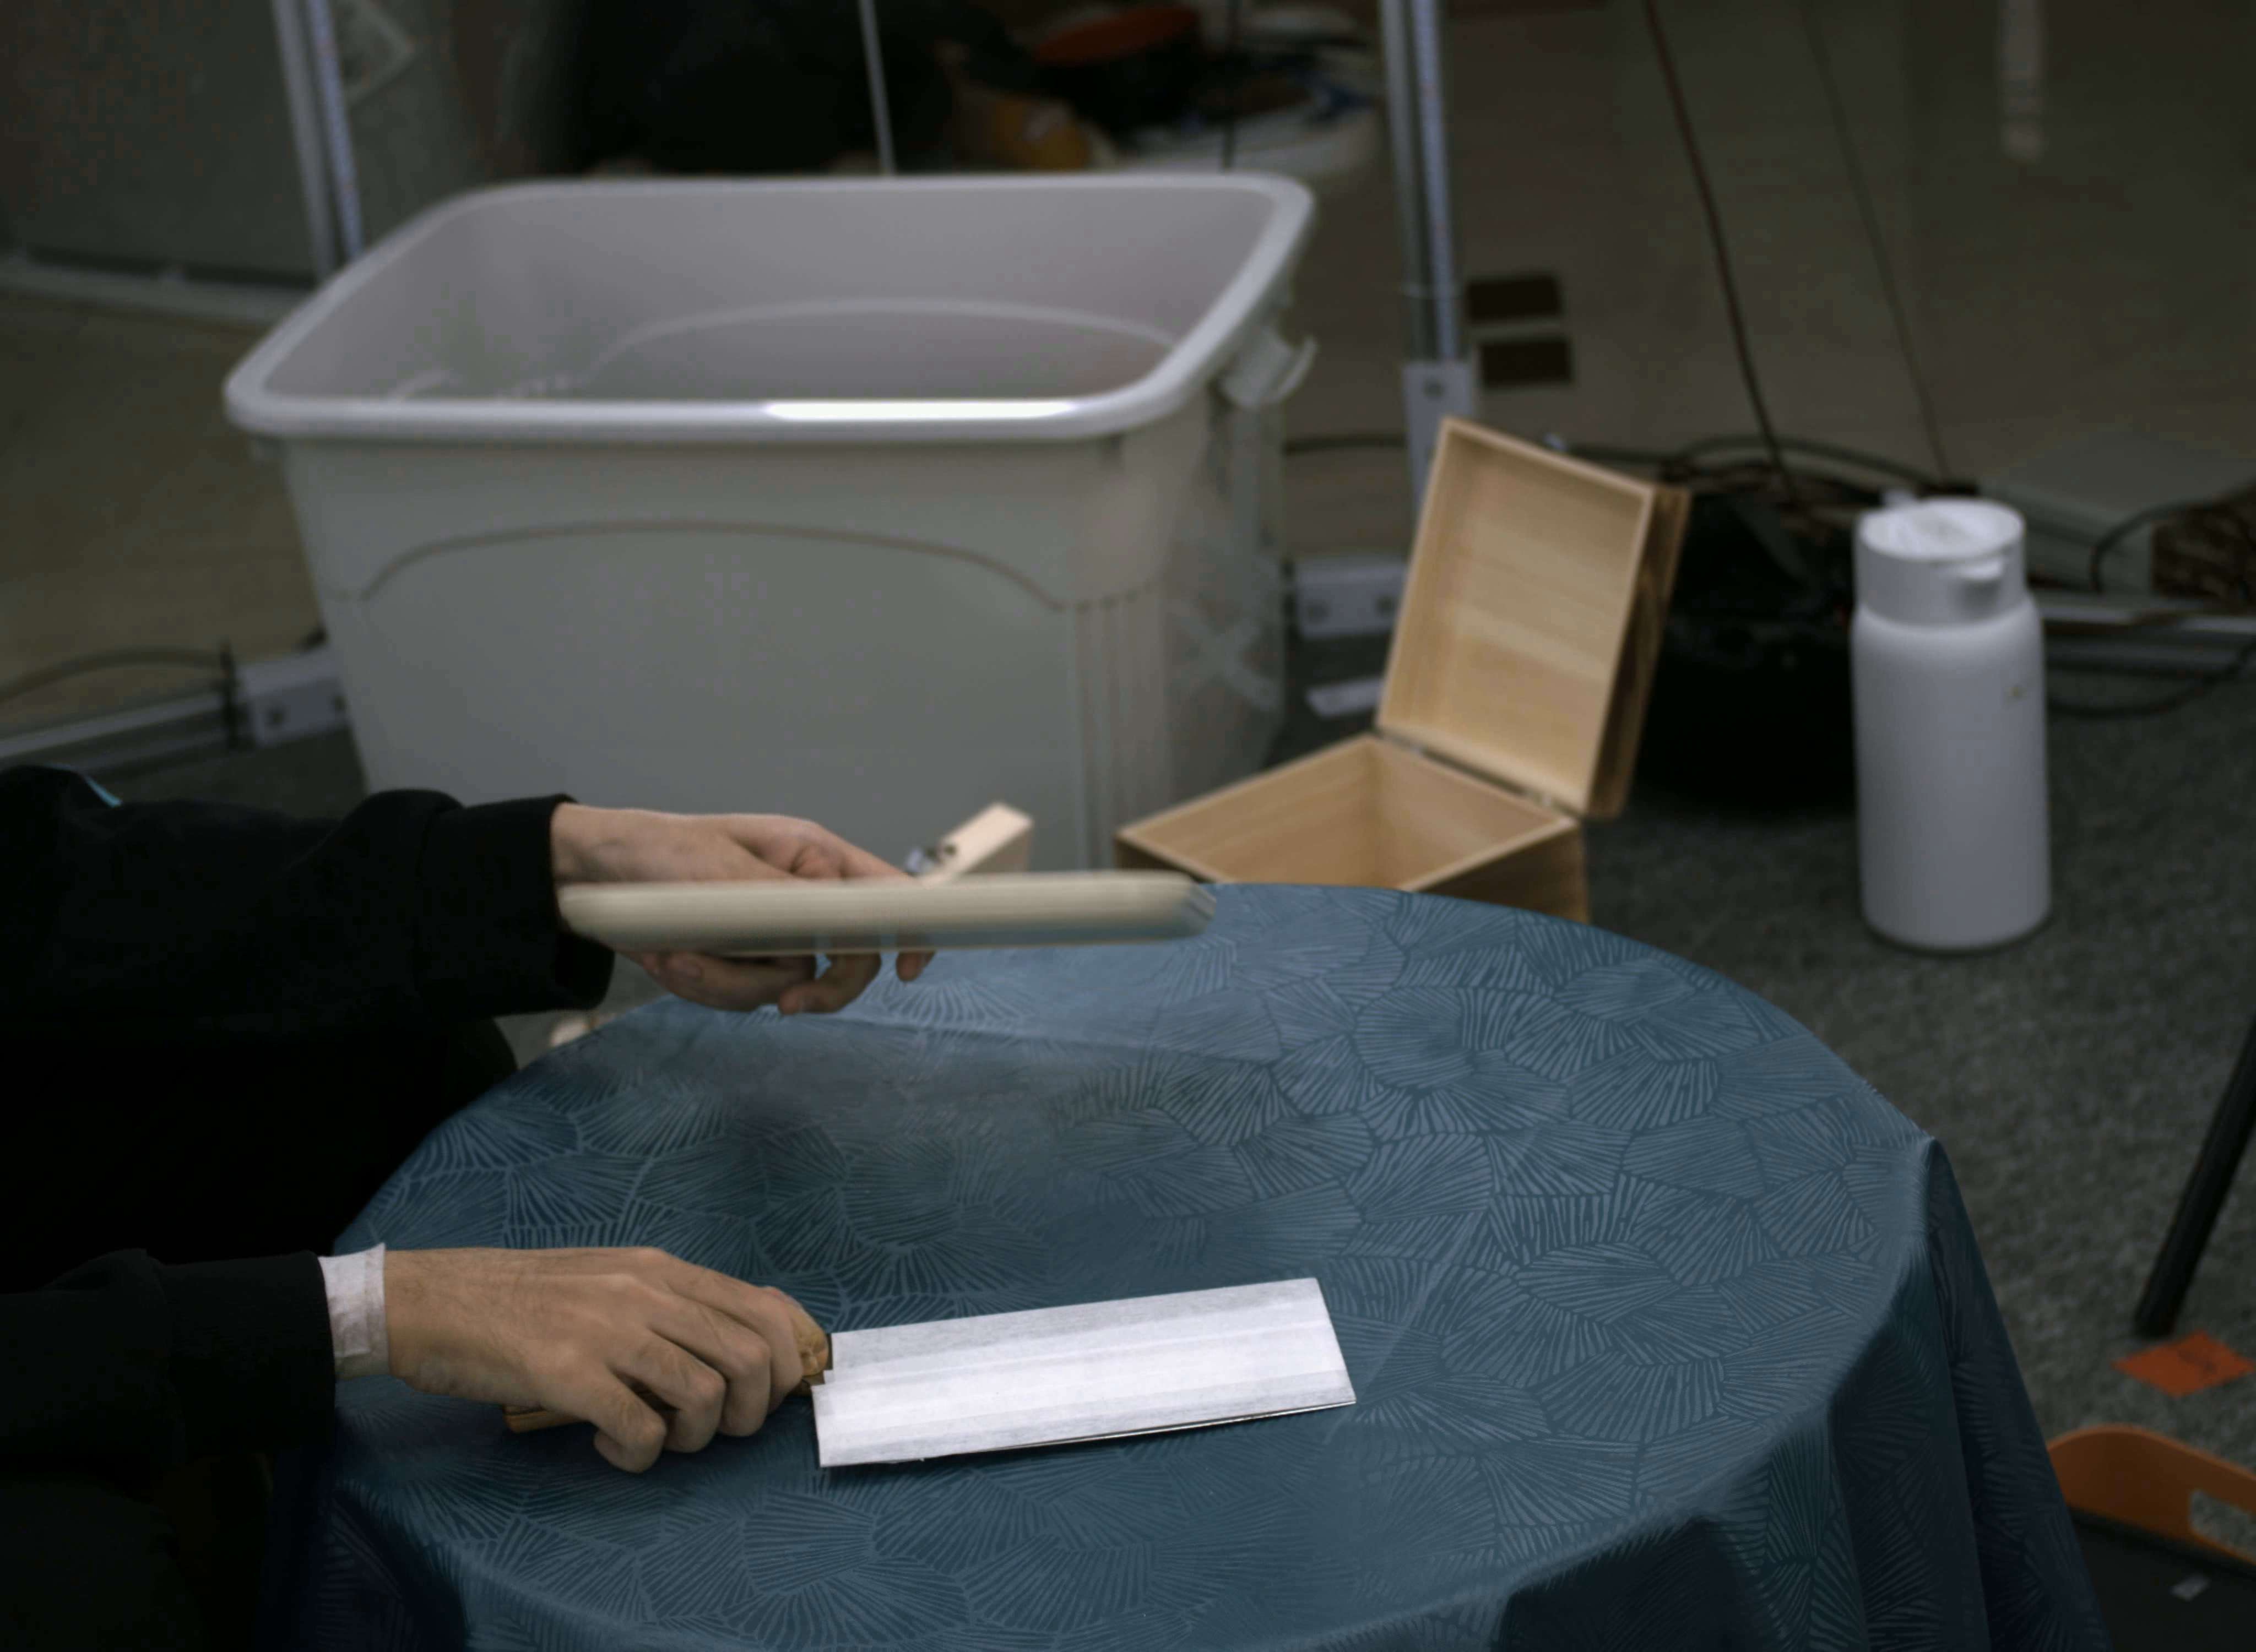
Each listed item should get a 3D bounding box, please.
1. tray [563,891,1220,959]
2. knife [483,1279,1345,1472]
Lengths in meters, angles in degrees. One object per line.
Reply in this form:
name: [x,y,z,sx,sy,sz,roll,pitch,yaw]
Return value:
tray: [-0.087,0.039,2.155,0.239,0.017,0.171,-2,-3,5]
knife: [-0.076,0.199,2.018,0.305,0.021,0.091,-6,26,-5]
